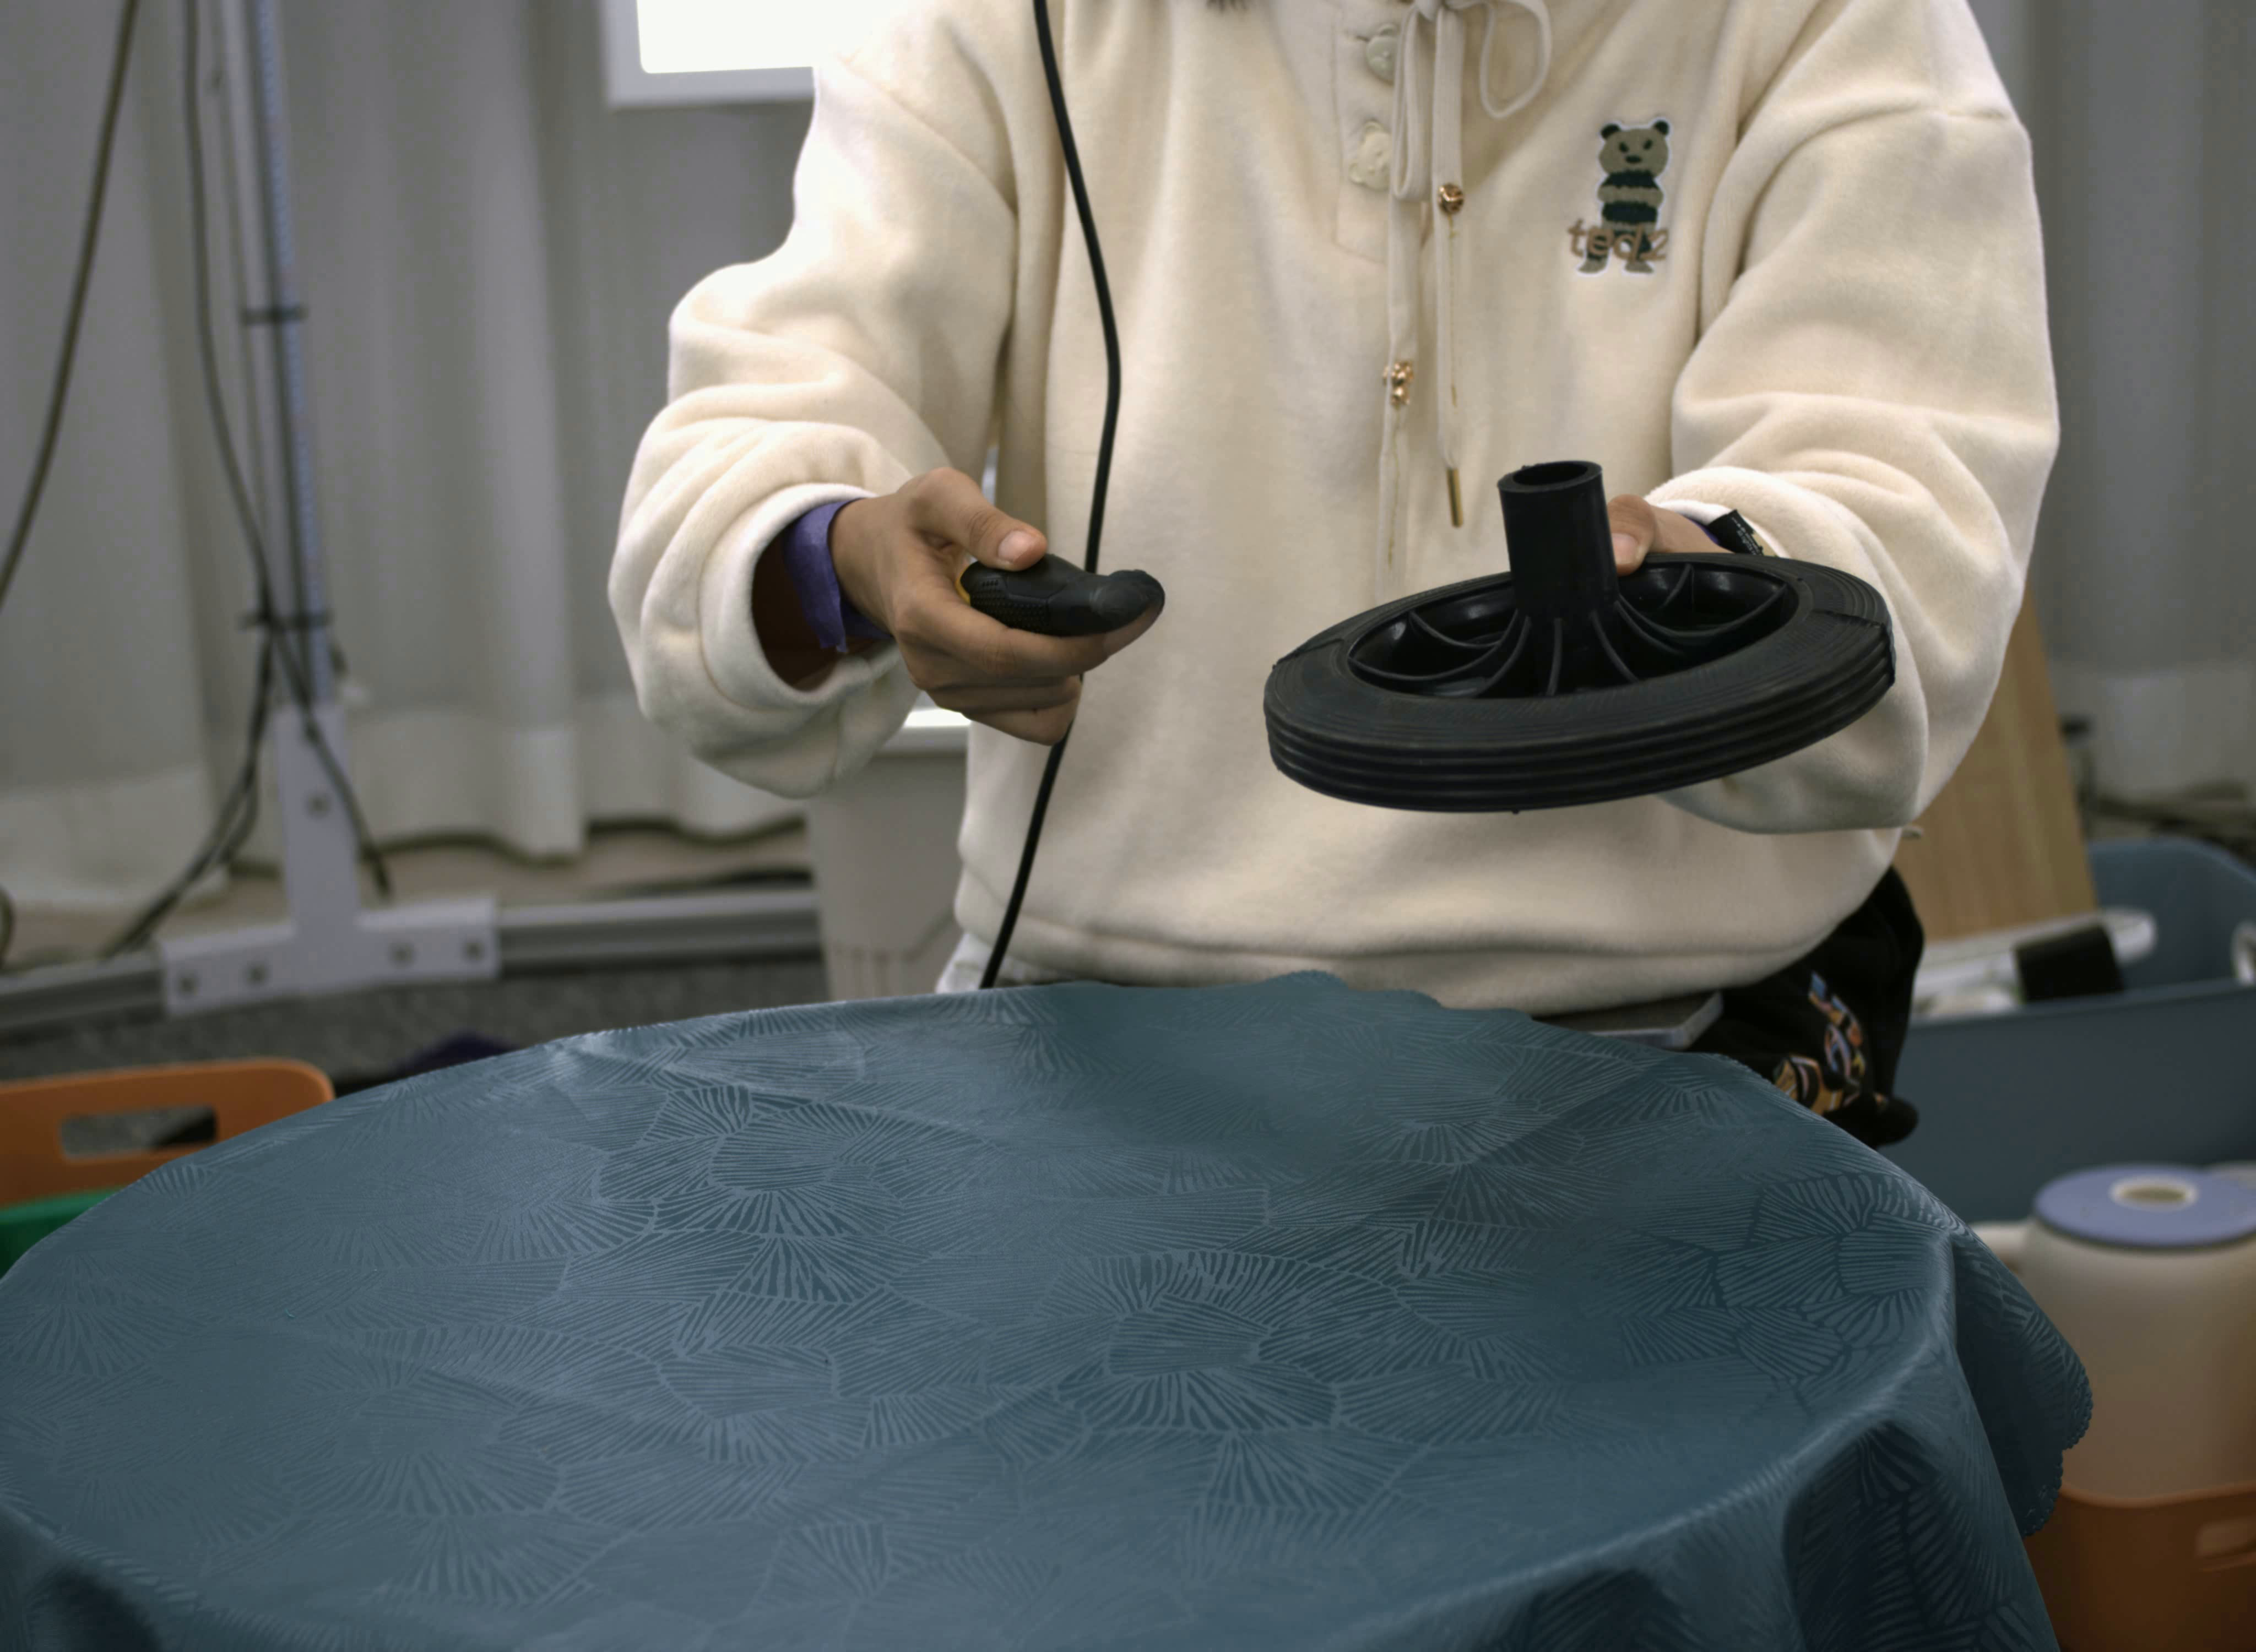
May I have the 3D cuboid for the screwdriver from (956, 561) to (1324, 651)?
[{"bbox_3d":[0.005,-0.066,1.751,0.031,0.031,0.199,-12,13,-33],"label":"screwdriver"}]

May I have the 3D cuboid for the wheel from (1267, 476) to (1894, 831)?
[{"bbox_3d":[0.129,-0.061,1.618,0.190,0.078,0.188,-23,22,-32],"label":"wheel"}]
